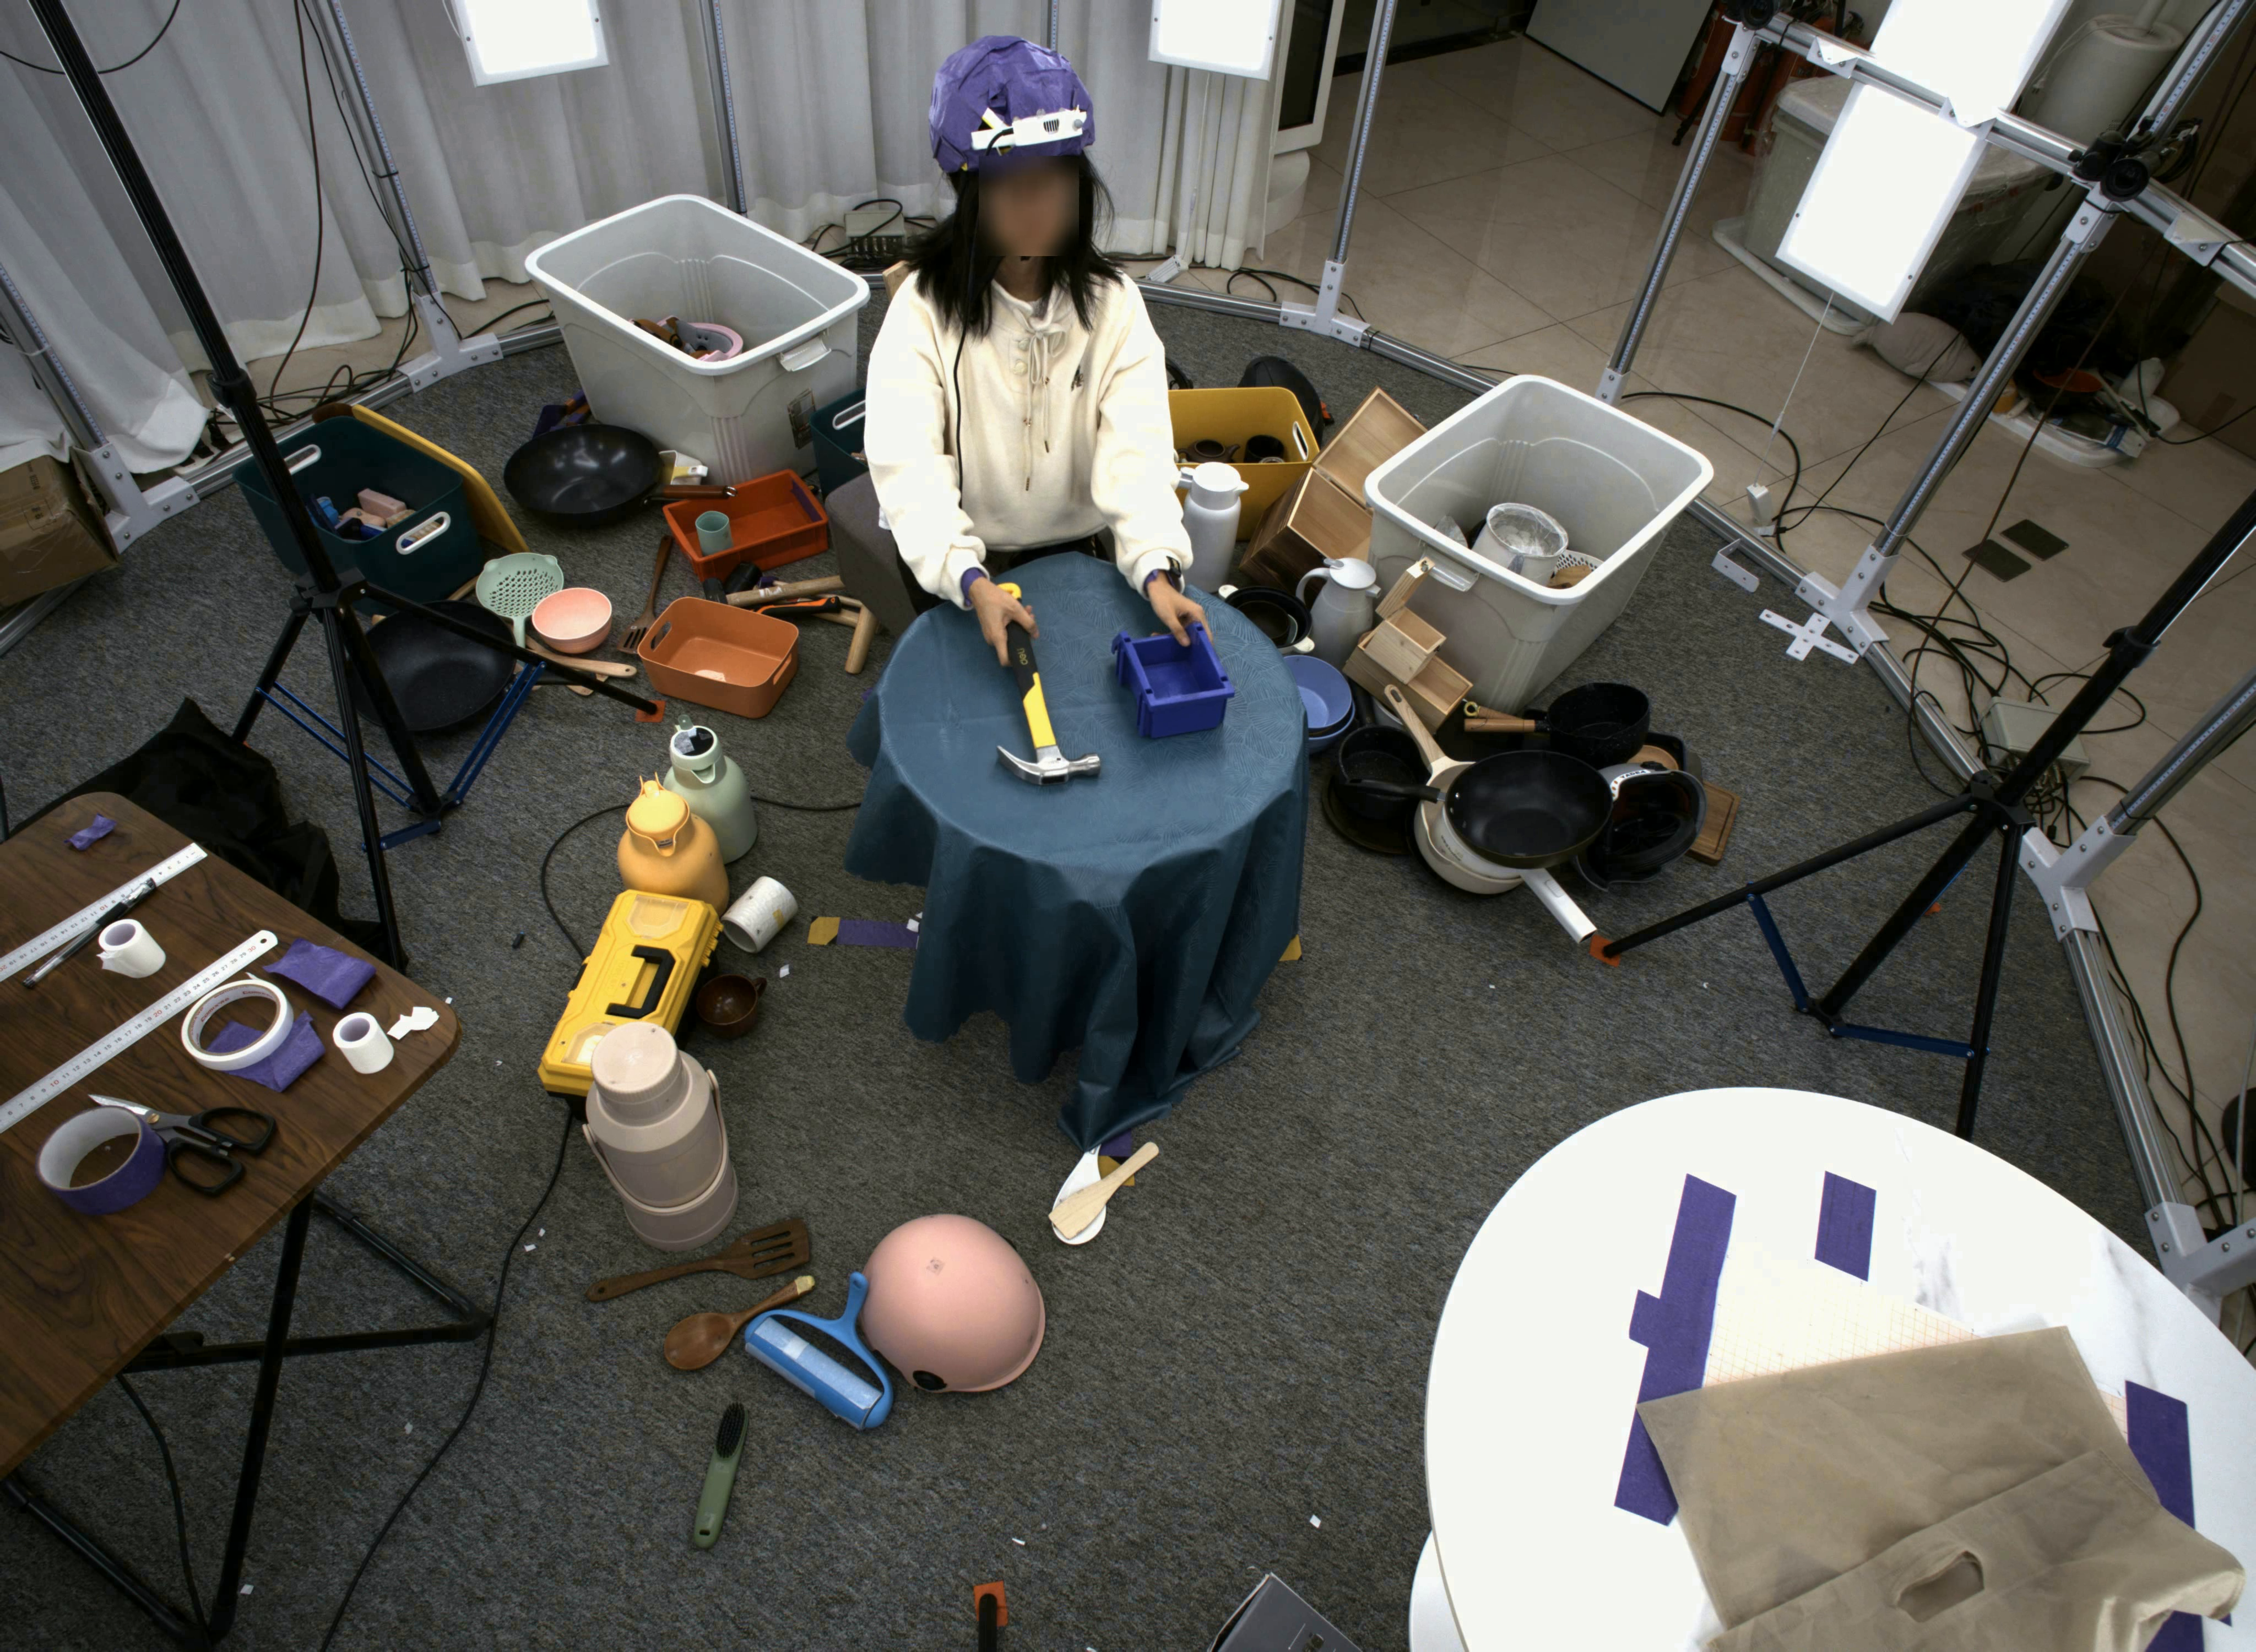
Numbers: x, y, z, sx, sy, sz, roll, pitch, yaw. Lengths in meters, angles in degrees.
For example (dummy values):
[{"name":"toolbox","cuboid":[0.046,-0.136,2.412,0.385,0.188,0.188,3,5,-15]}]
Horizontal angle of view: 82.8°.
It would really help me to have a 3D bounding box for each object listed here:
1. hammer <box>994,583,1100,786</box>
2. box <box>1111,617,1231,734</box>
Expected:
[{"name":"hammer","cuboid":[-0.137,-0.204,1.786,0.131,0.031,0.346,-9,59,-9]},{"name":"box","cuboid":[0.055,-0.219,1.812,0.124,0.080,0.184,-10,53,-12]}]
